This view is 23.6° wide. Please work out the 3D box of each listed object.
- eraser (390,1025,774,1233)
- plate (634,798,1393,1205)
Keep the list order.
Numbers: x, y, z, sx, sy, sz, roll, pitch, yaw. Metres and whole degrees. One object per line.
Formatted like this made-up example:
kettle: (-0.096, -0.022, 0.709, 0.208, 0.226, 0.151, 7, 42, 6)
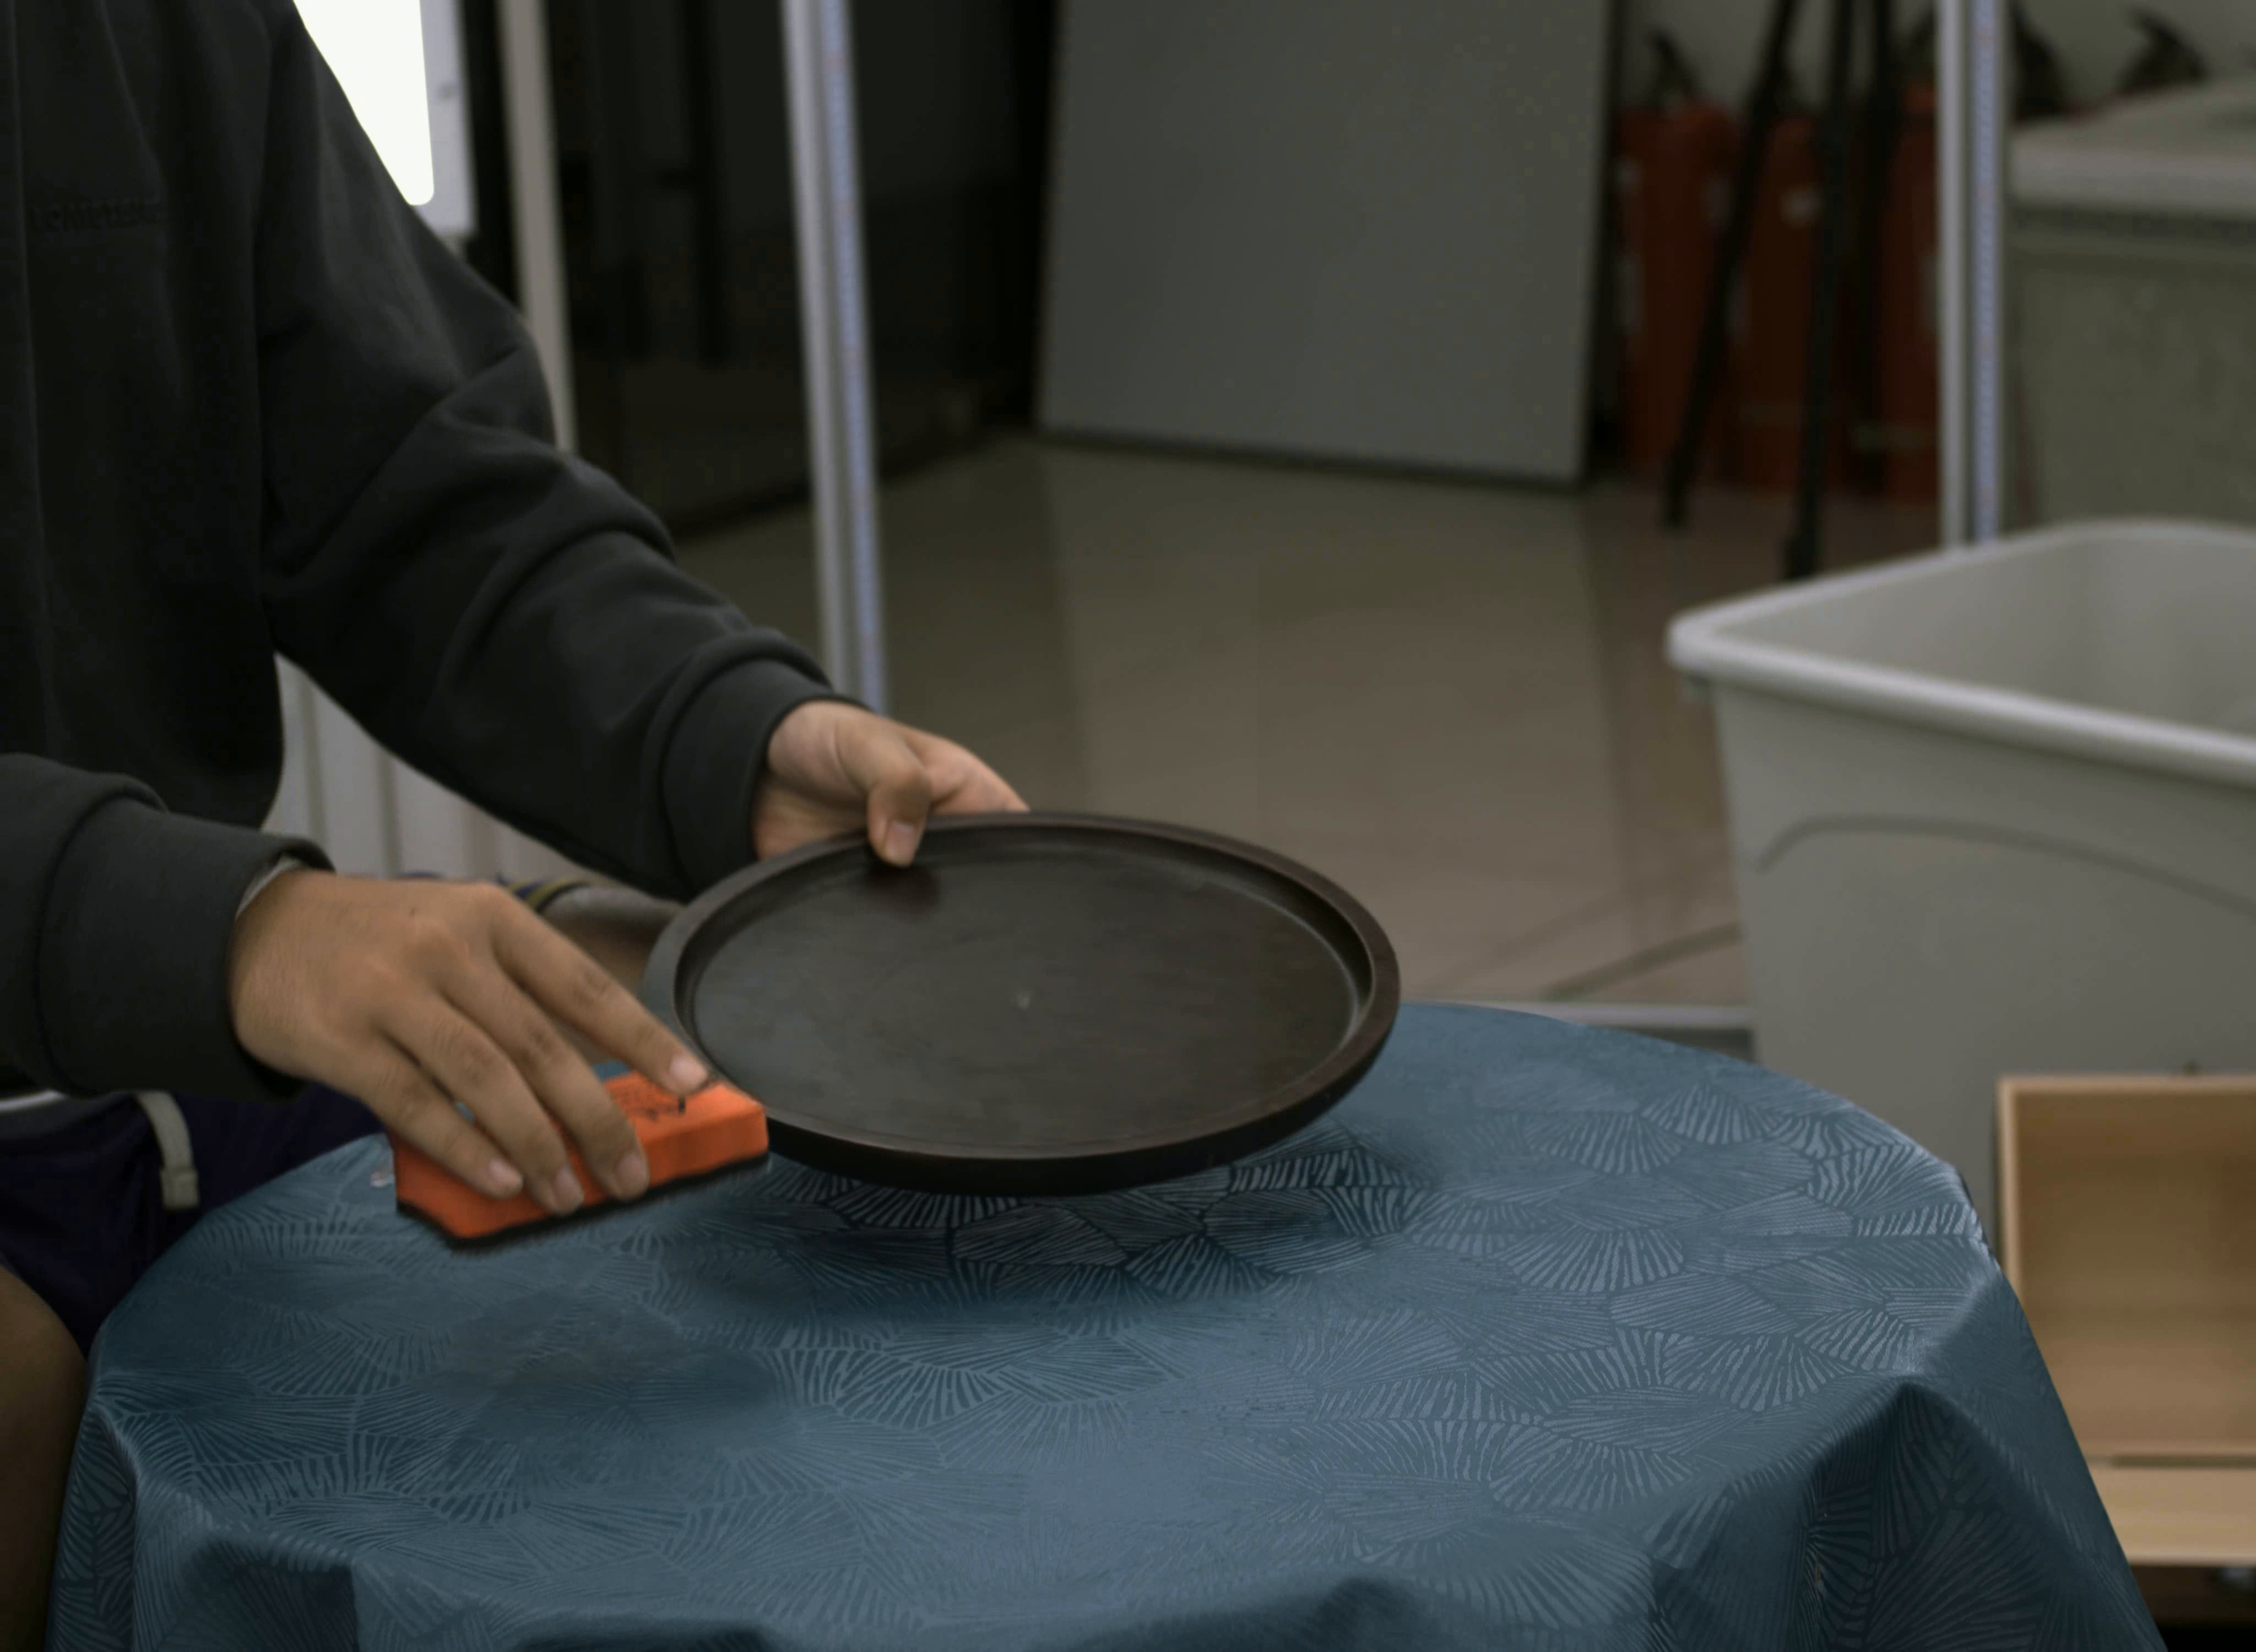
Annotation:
eraser: (-0.163, 0.090, 1.622, 0.106, 0.023, 0.059, -16, 22, -26)
plate: (-0.037, 0.056, 1.779, 0.251, 0.029, 0.256, -2, 27, 0)
